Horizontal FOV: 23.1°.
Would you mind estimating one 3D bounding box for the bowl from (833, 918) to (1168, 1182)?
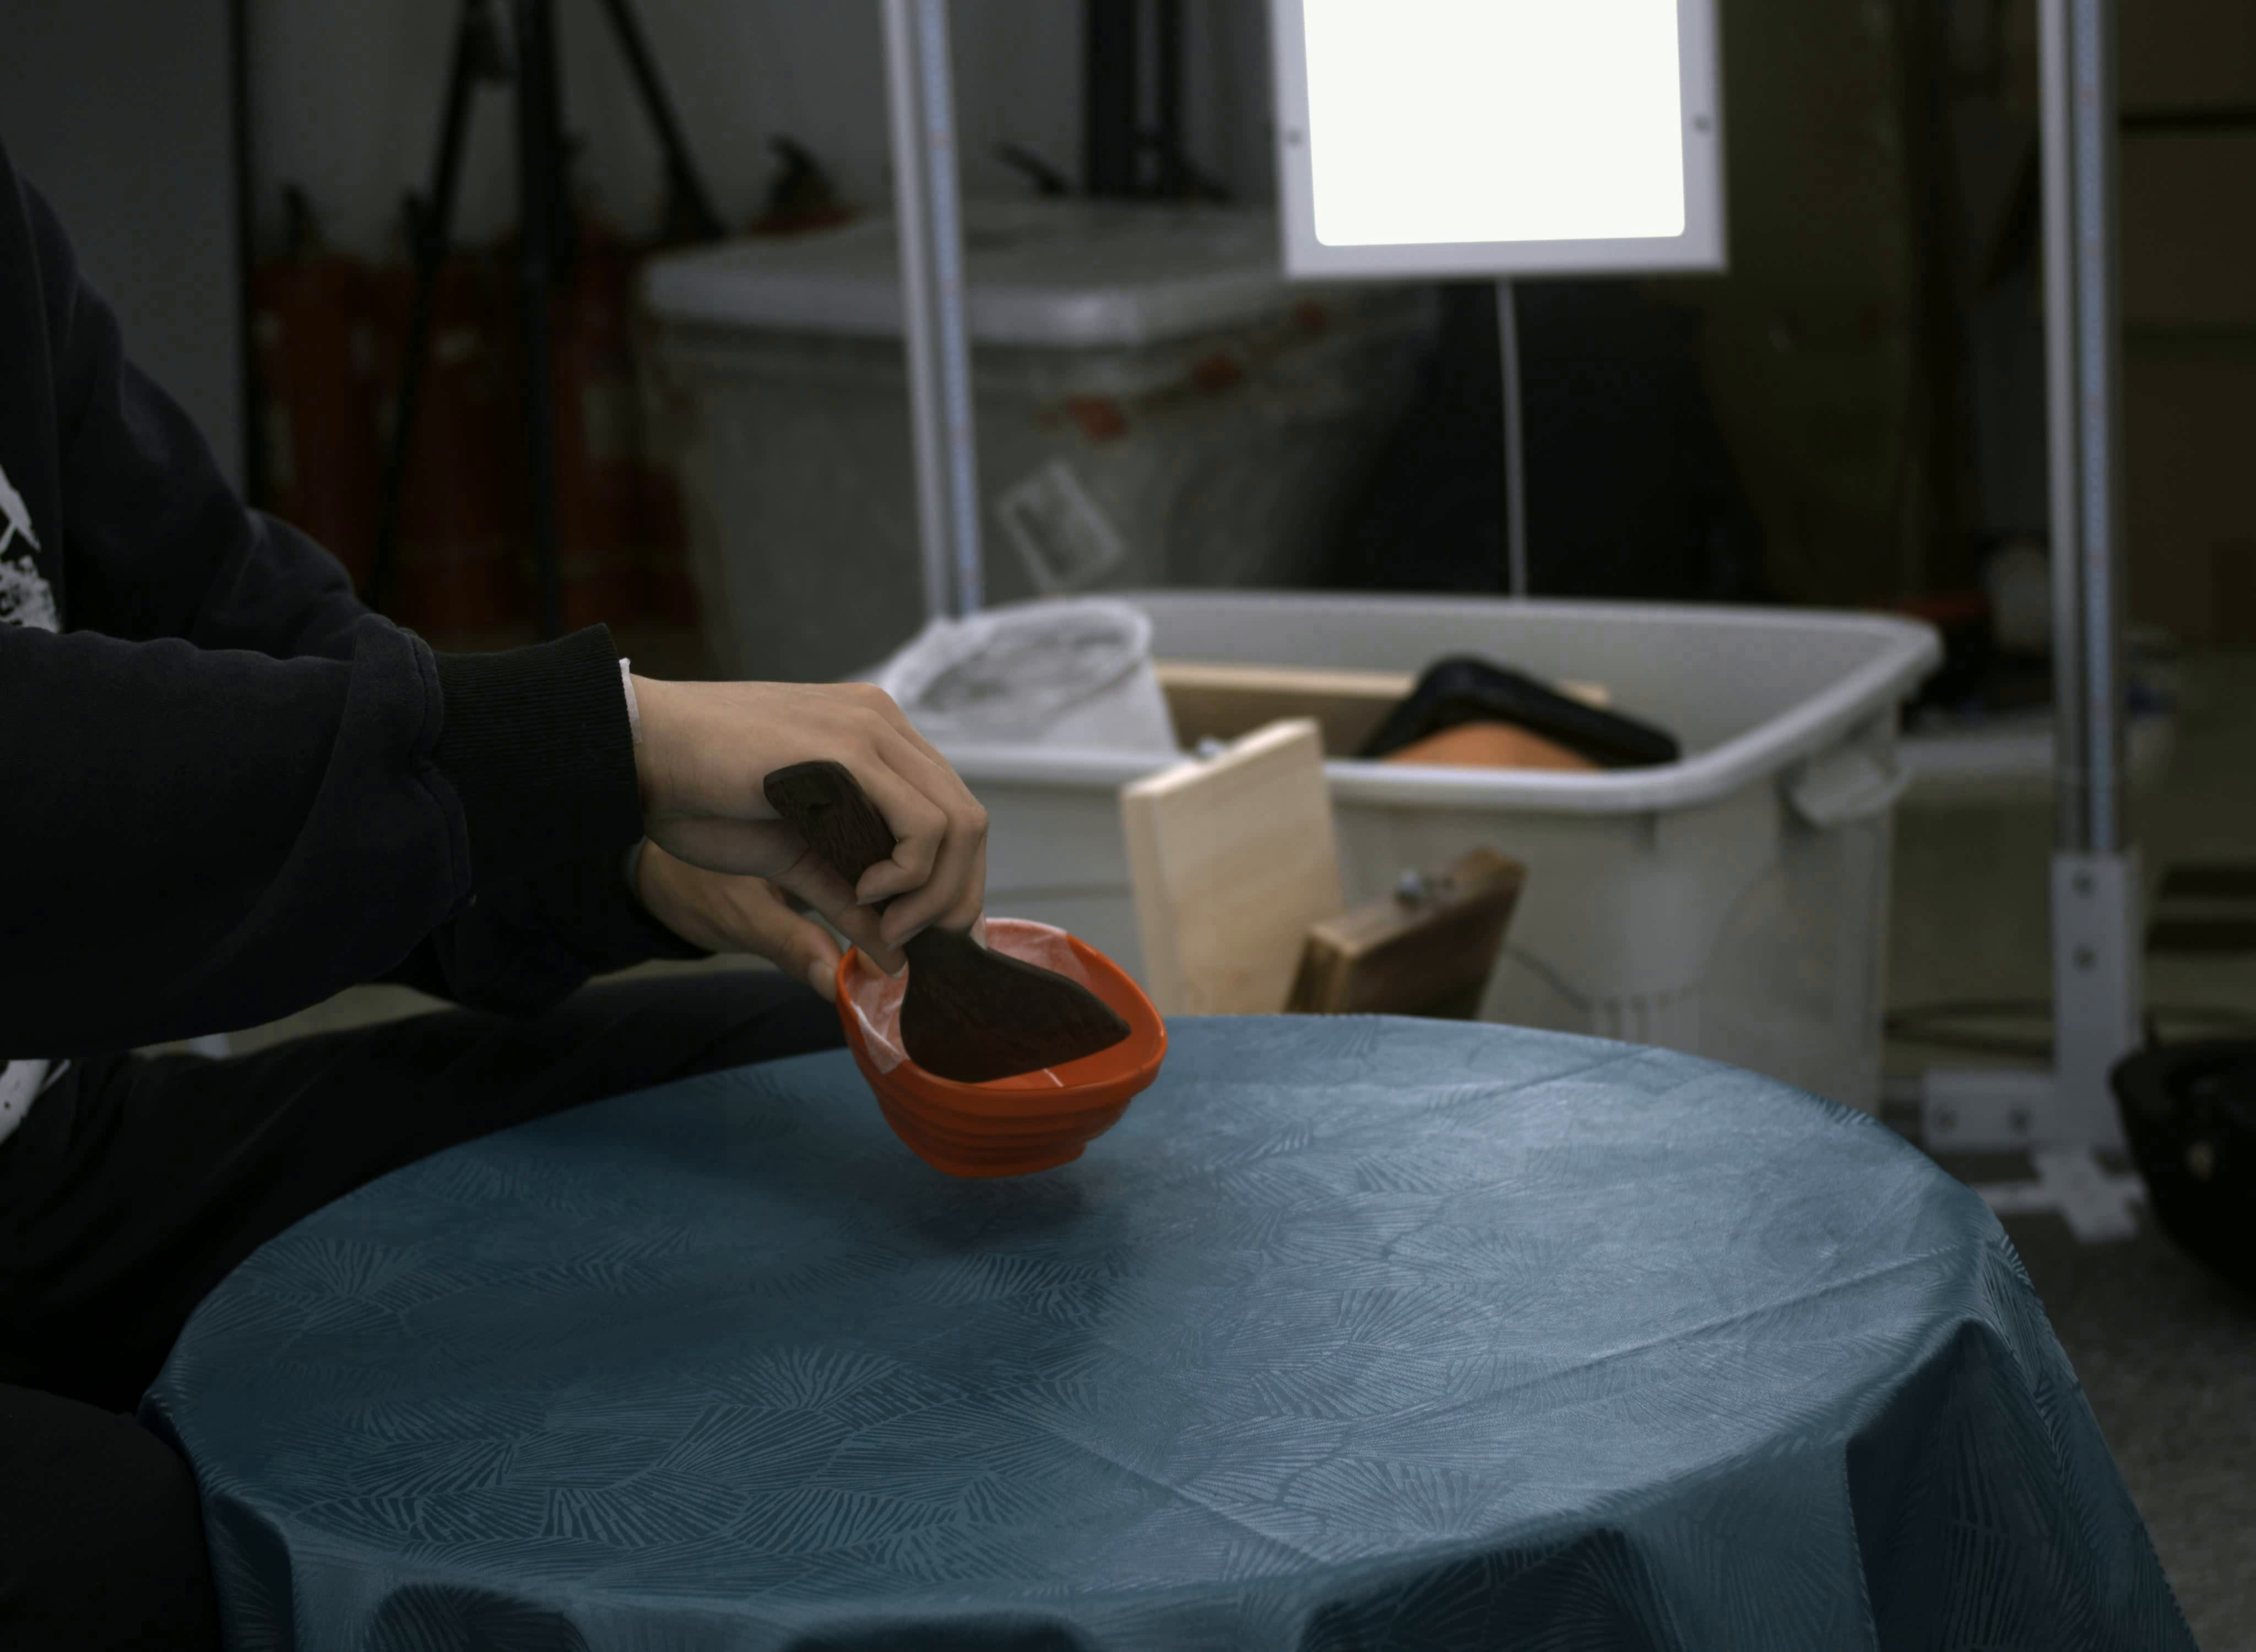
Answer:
[{"bbox_3d":[-0.048,0.083,1.915,0.118,0.052,0.118,8,30,-6],"label":"bowl"}]

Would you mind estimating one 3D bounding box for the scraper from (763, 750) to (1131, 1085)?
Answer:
[{"bbox_3d":[-0.067,0.033,1.814,0.076,0.209,0.011,-16,54,15],"label":"scraper"}]
